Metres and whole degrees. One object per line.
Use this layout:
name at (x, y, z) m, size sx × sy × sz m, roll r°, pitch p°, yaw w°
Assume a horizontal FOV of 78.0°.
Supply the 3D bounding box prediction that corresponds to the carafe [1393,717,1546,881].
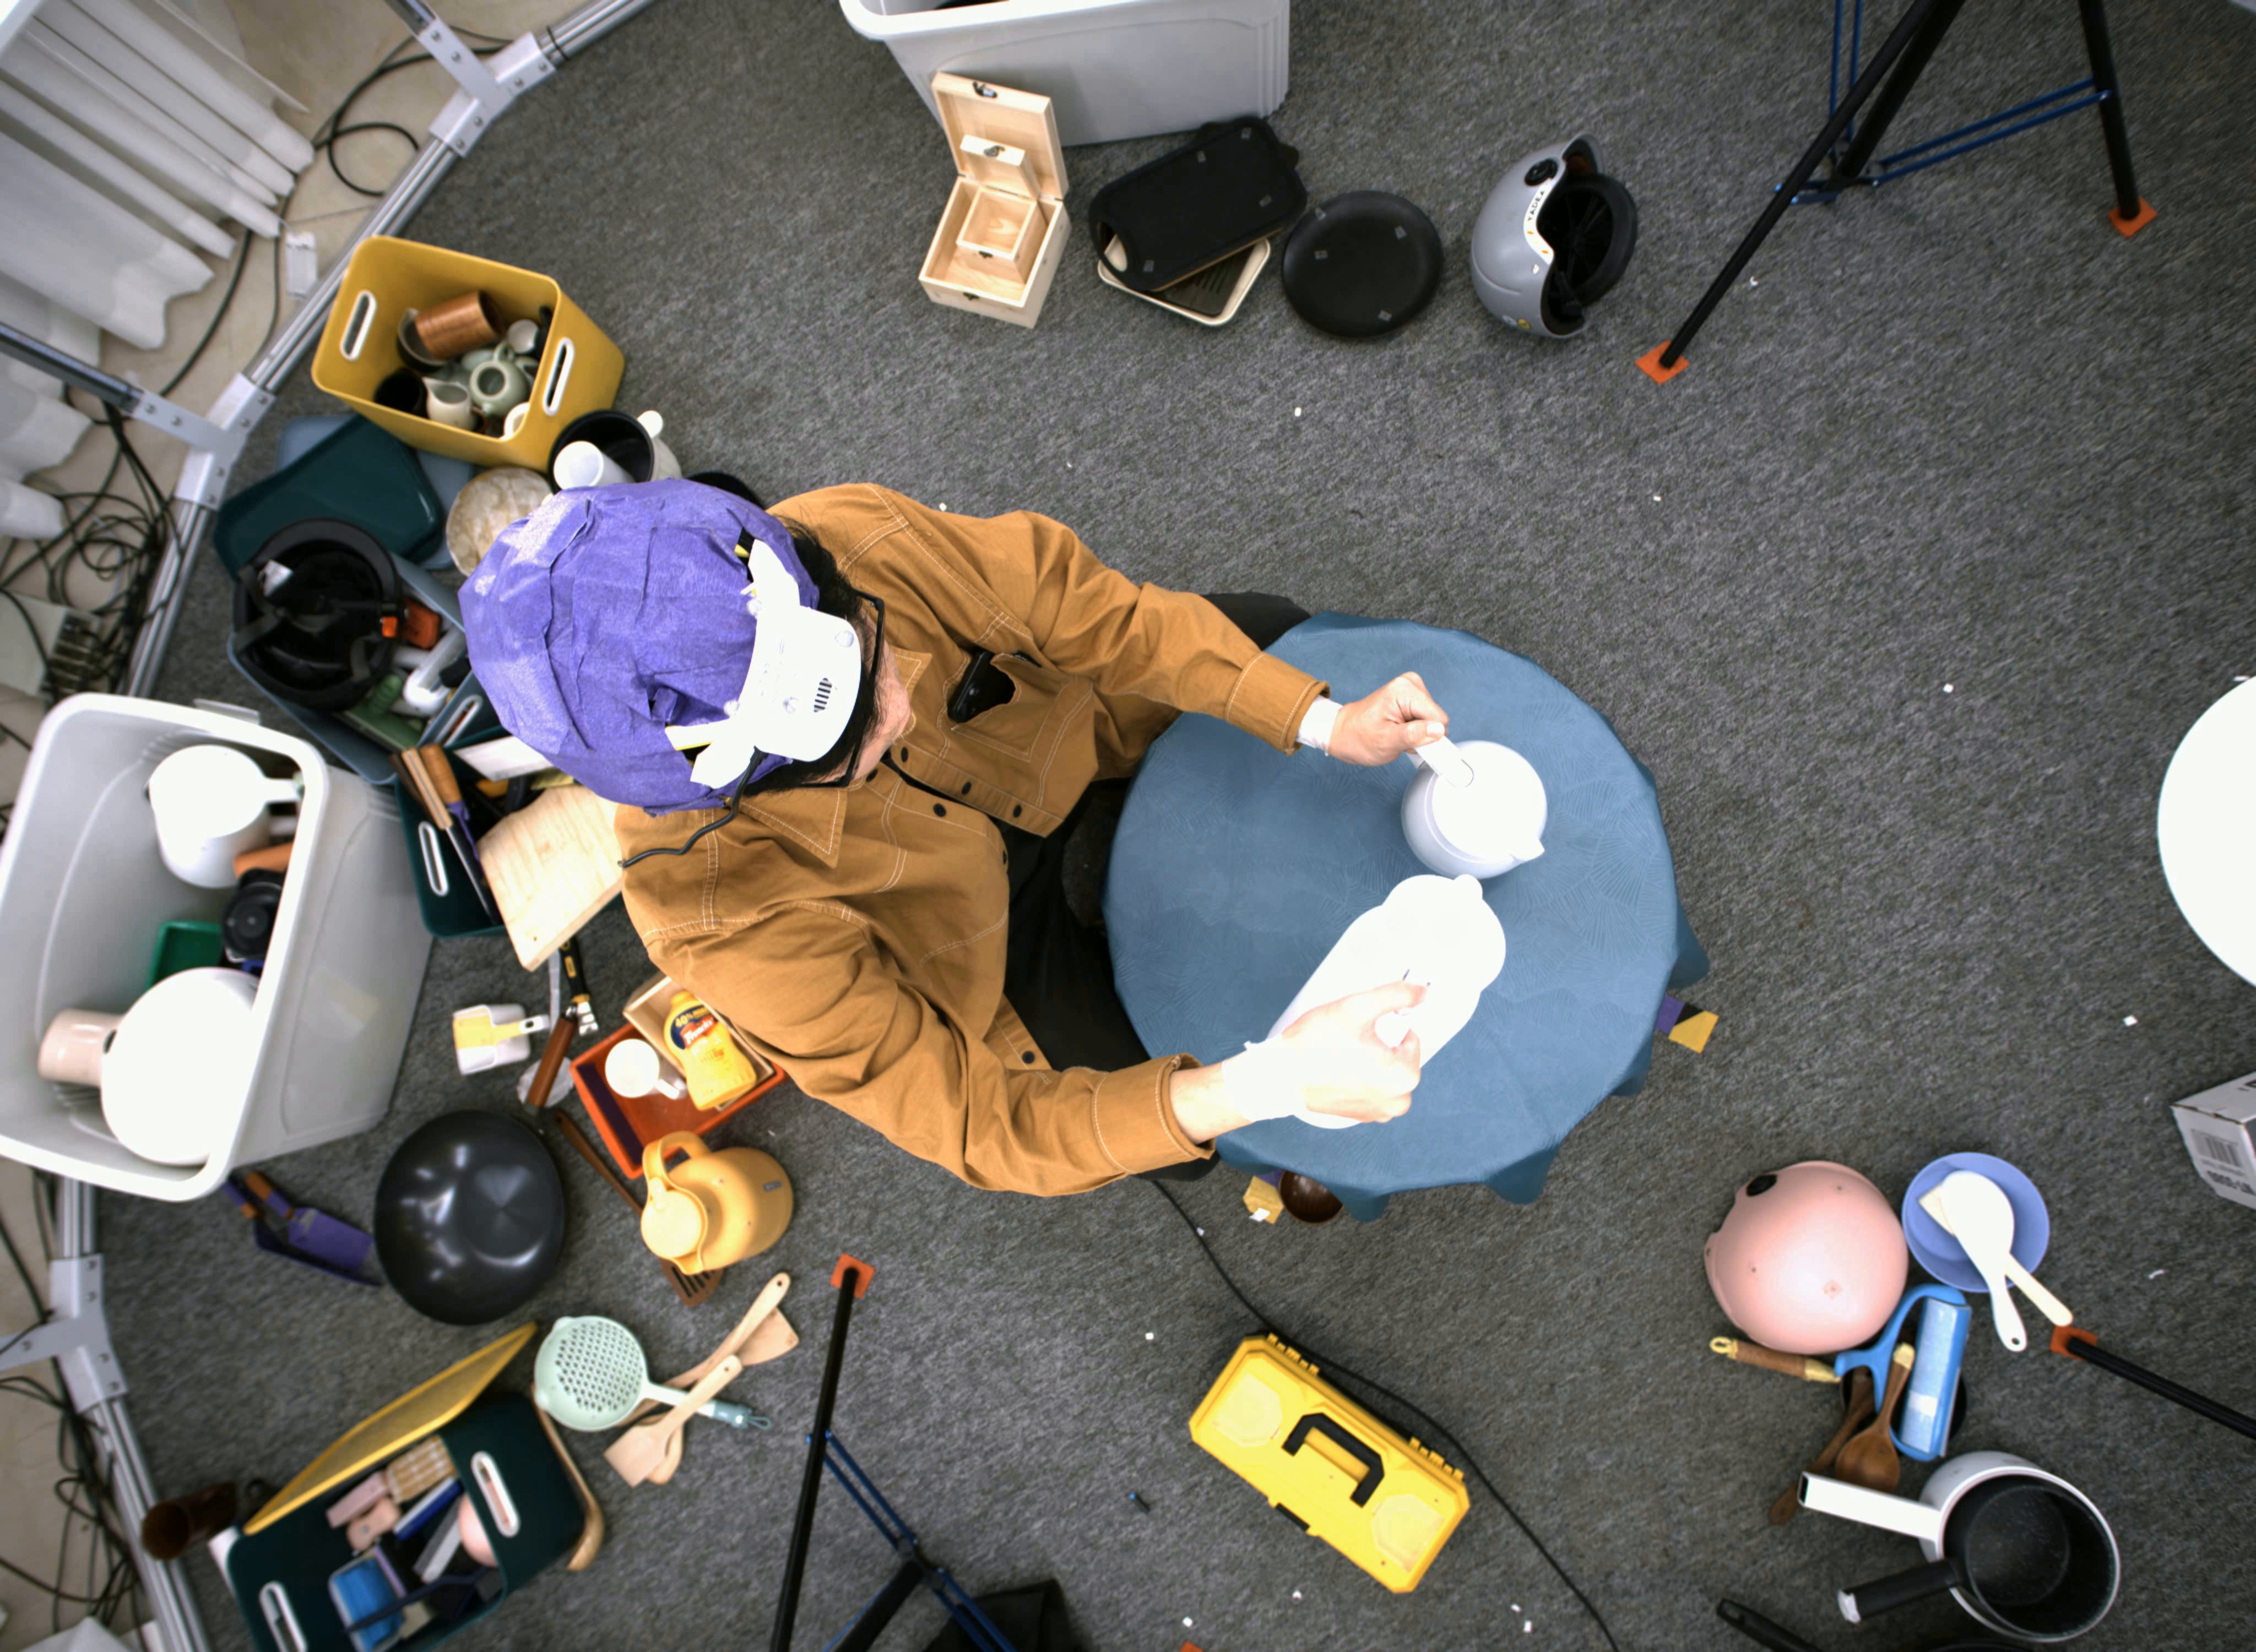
carafe at (0.306, -0.029, 1.263) m, size 0.133 × 0.248 × 0.167 m, roll -42°, pitch 82°, yaw 7°

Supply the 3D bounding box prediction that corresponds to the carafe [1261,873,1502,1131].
carafe at (0.197, 0.162, 1.131) m, size 0.124 × 0.275 × 0.169 m, roll 34°, pitch 56°, yaw 5°
